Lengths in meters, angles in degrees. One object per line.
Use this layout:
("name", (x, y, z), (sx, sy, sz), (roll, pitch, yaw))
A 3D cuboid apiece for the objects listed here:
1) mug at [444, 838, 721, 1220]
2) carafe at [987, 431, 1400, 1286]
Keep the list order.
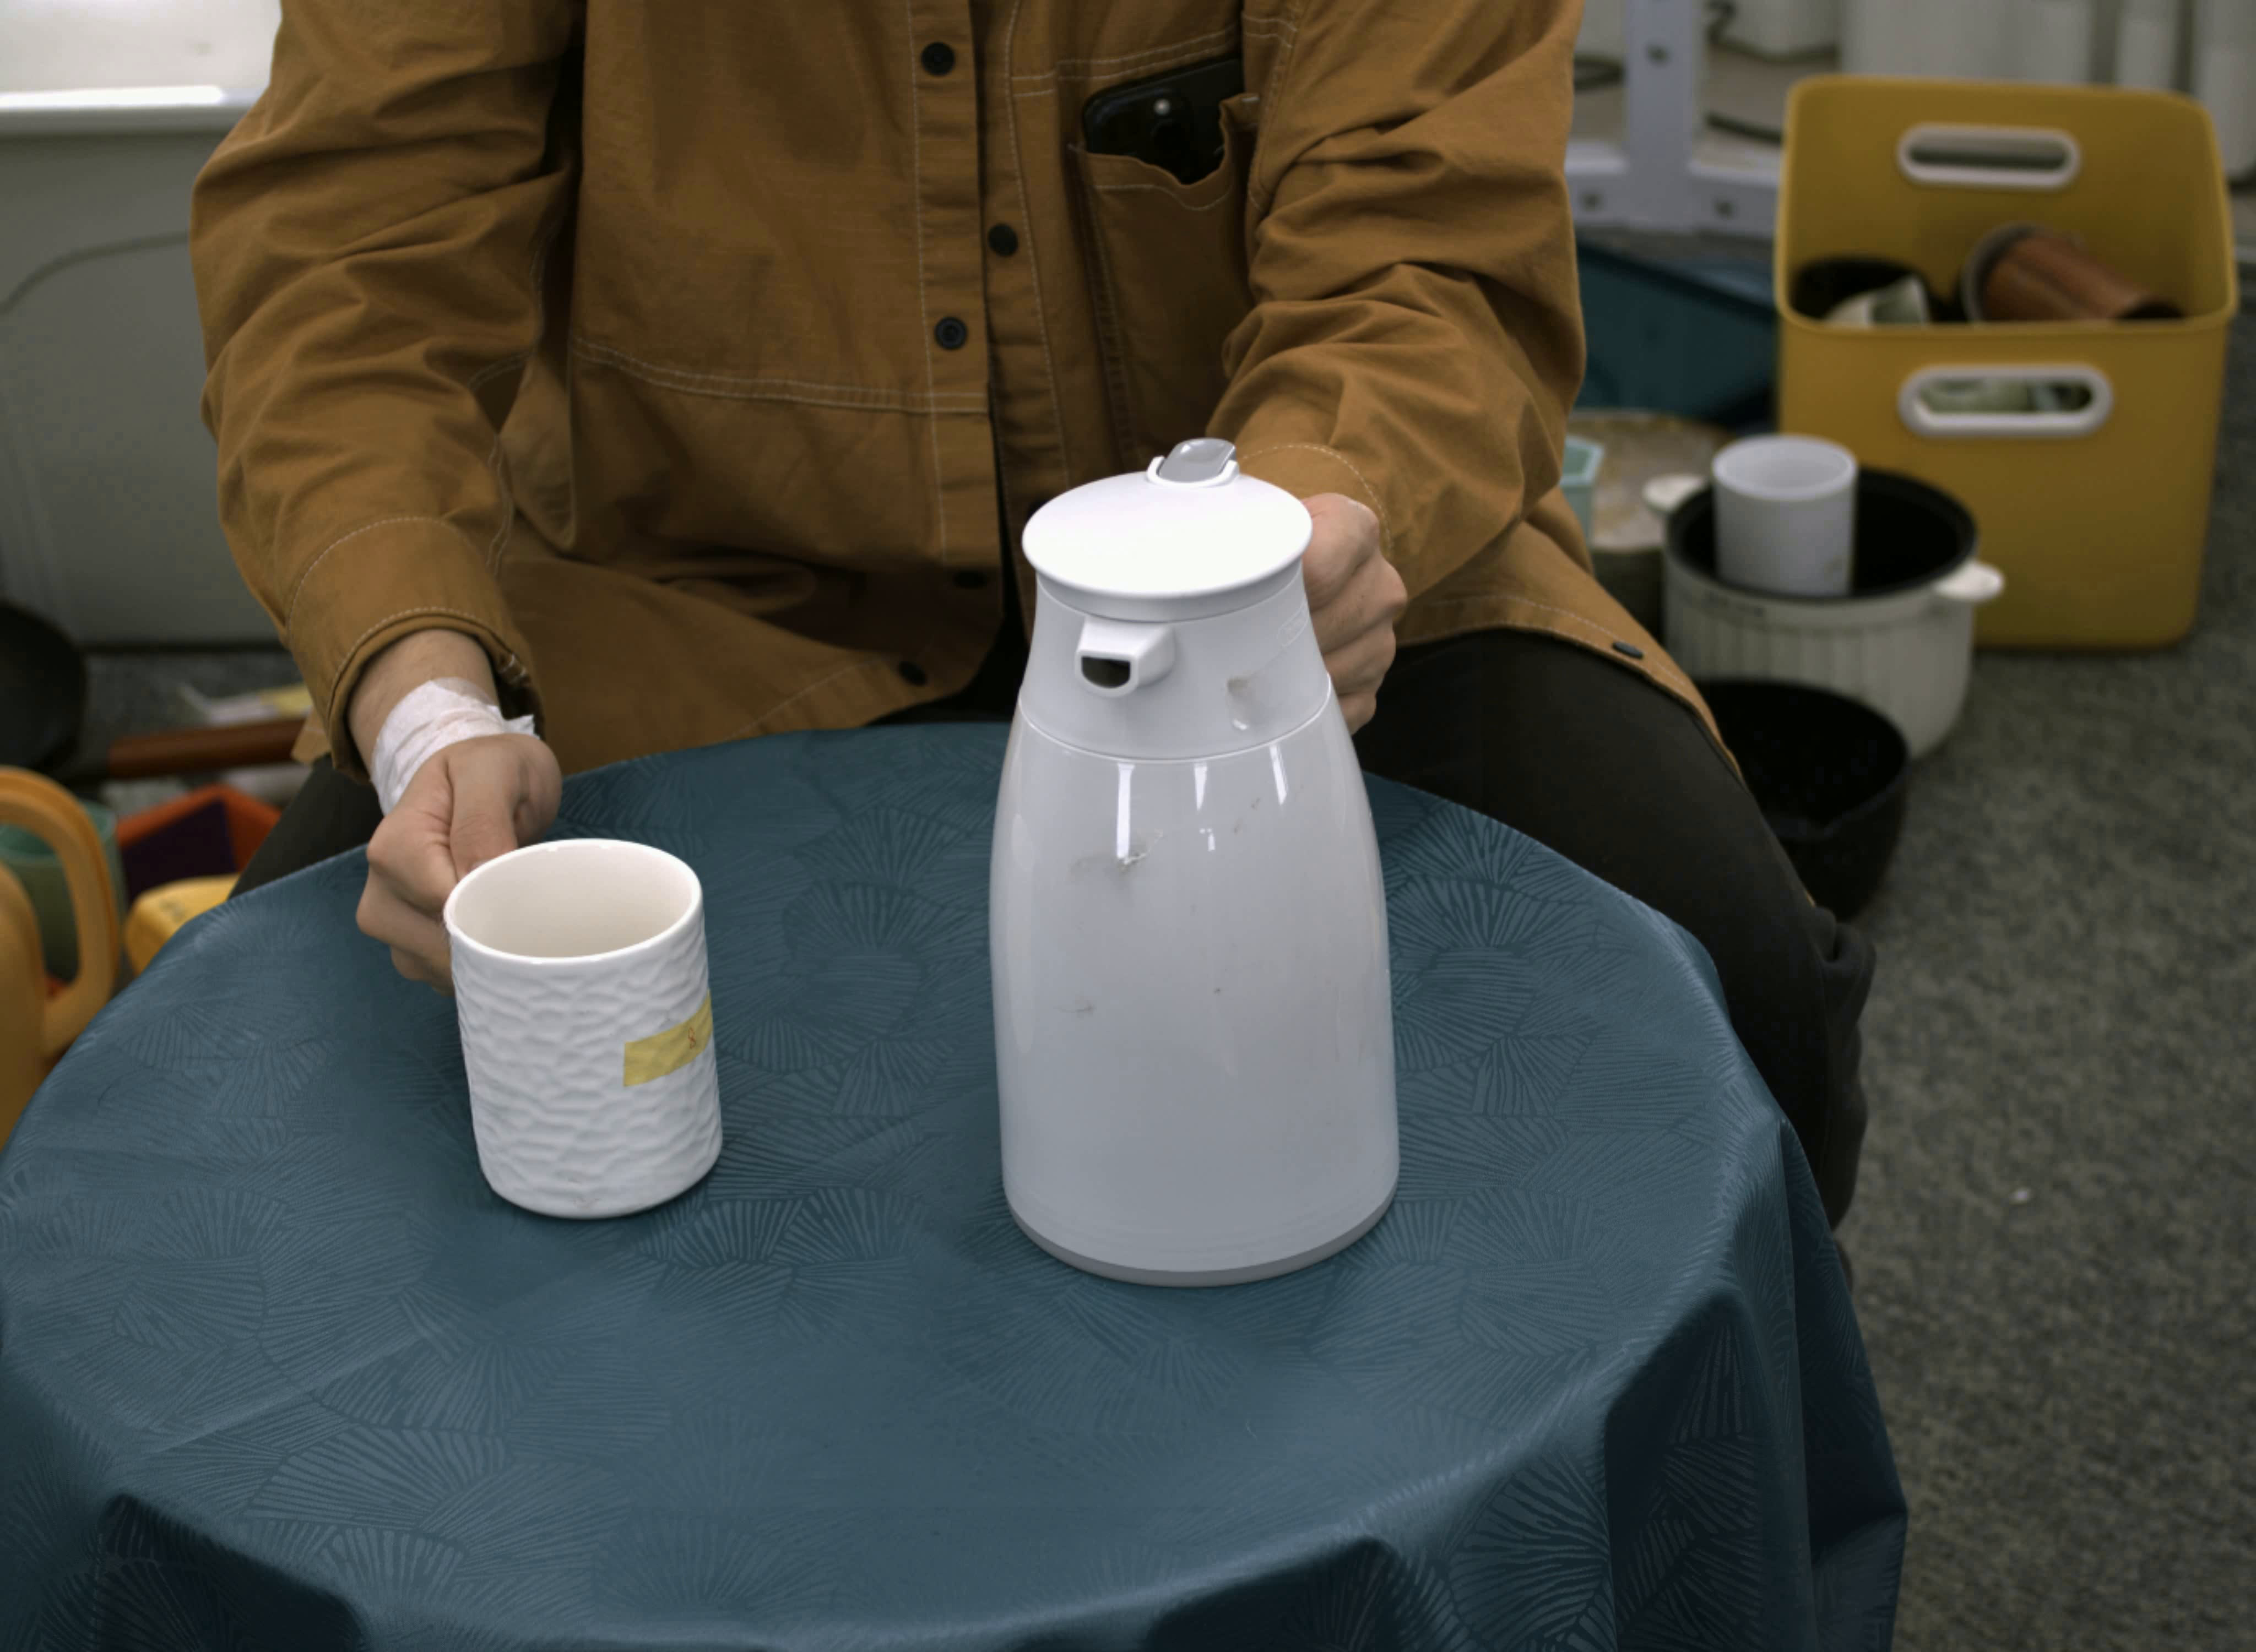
("mug", (-0.189, 0.063, 1.881), (0.085, 0.101, 0.118), (-19, 30, -30))
("carafe", (0.022, 0.000, 1.826), (0.131, 0.246, 0.170), (4, 27, 17))
